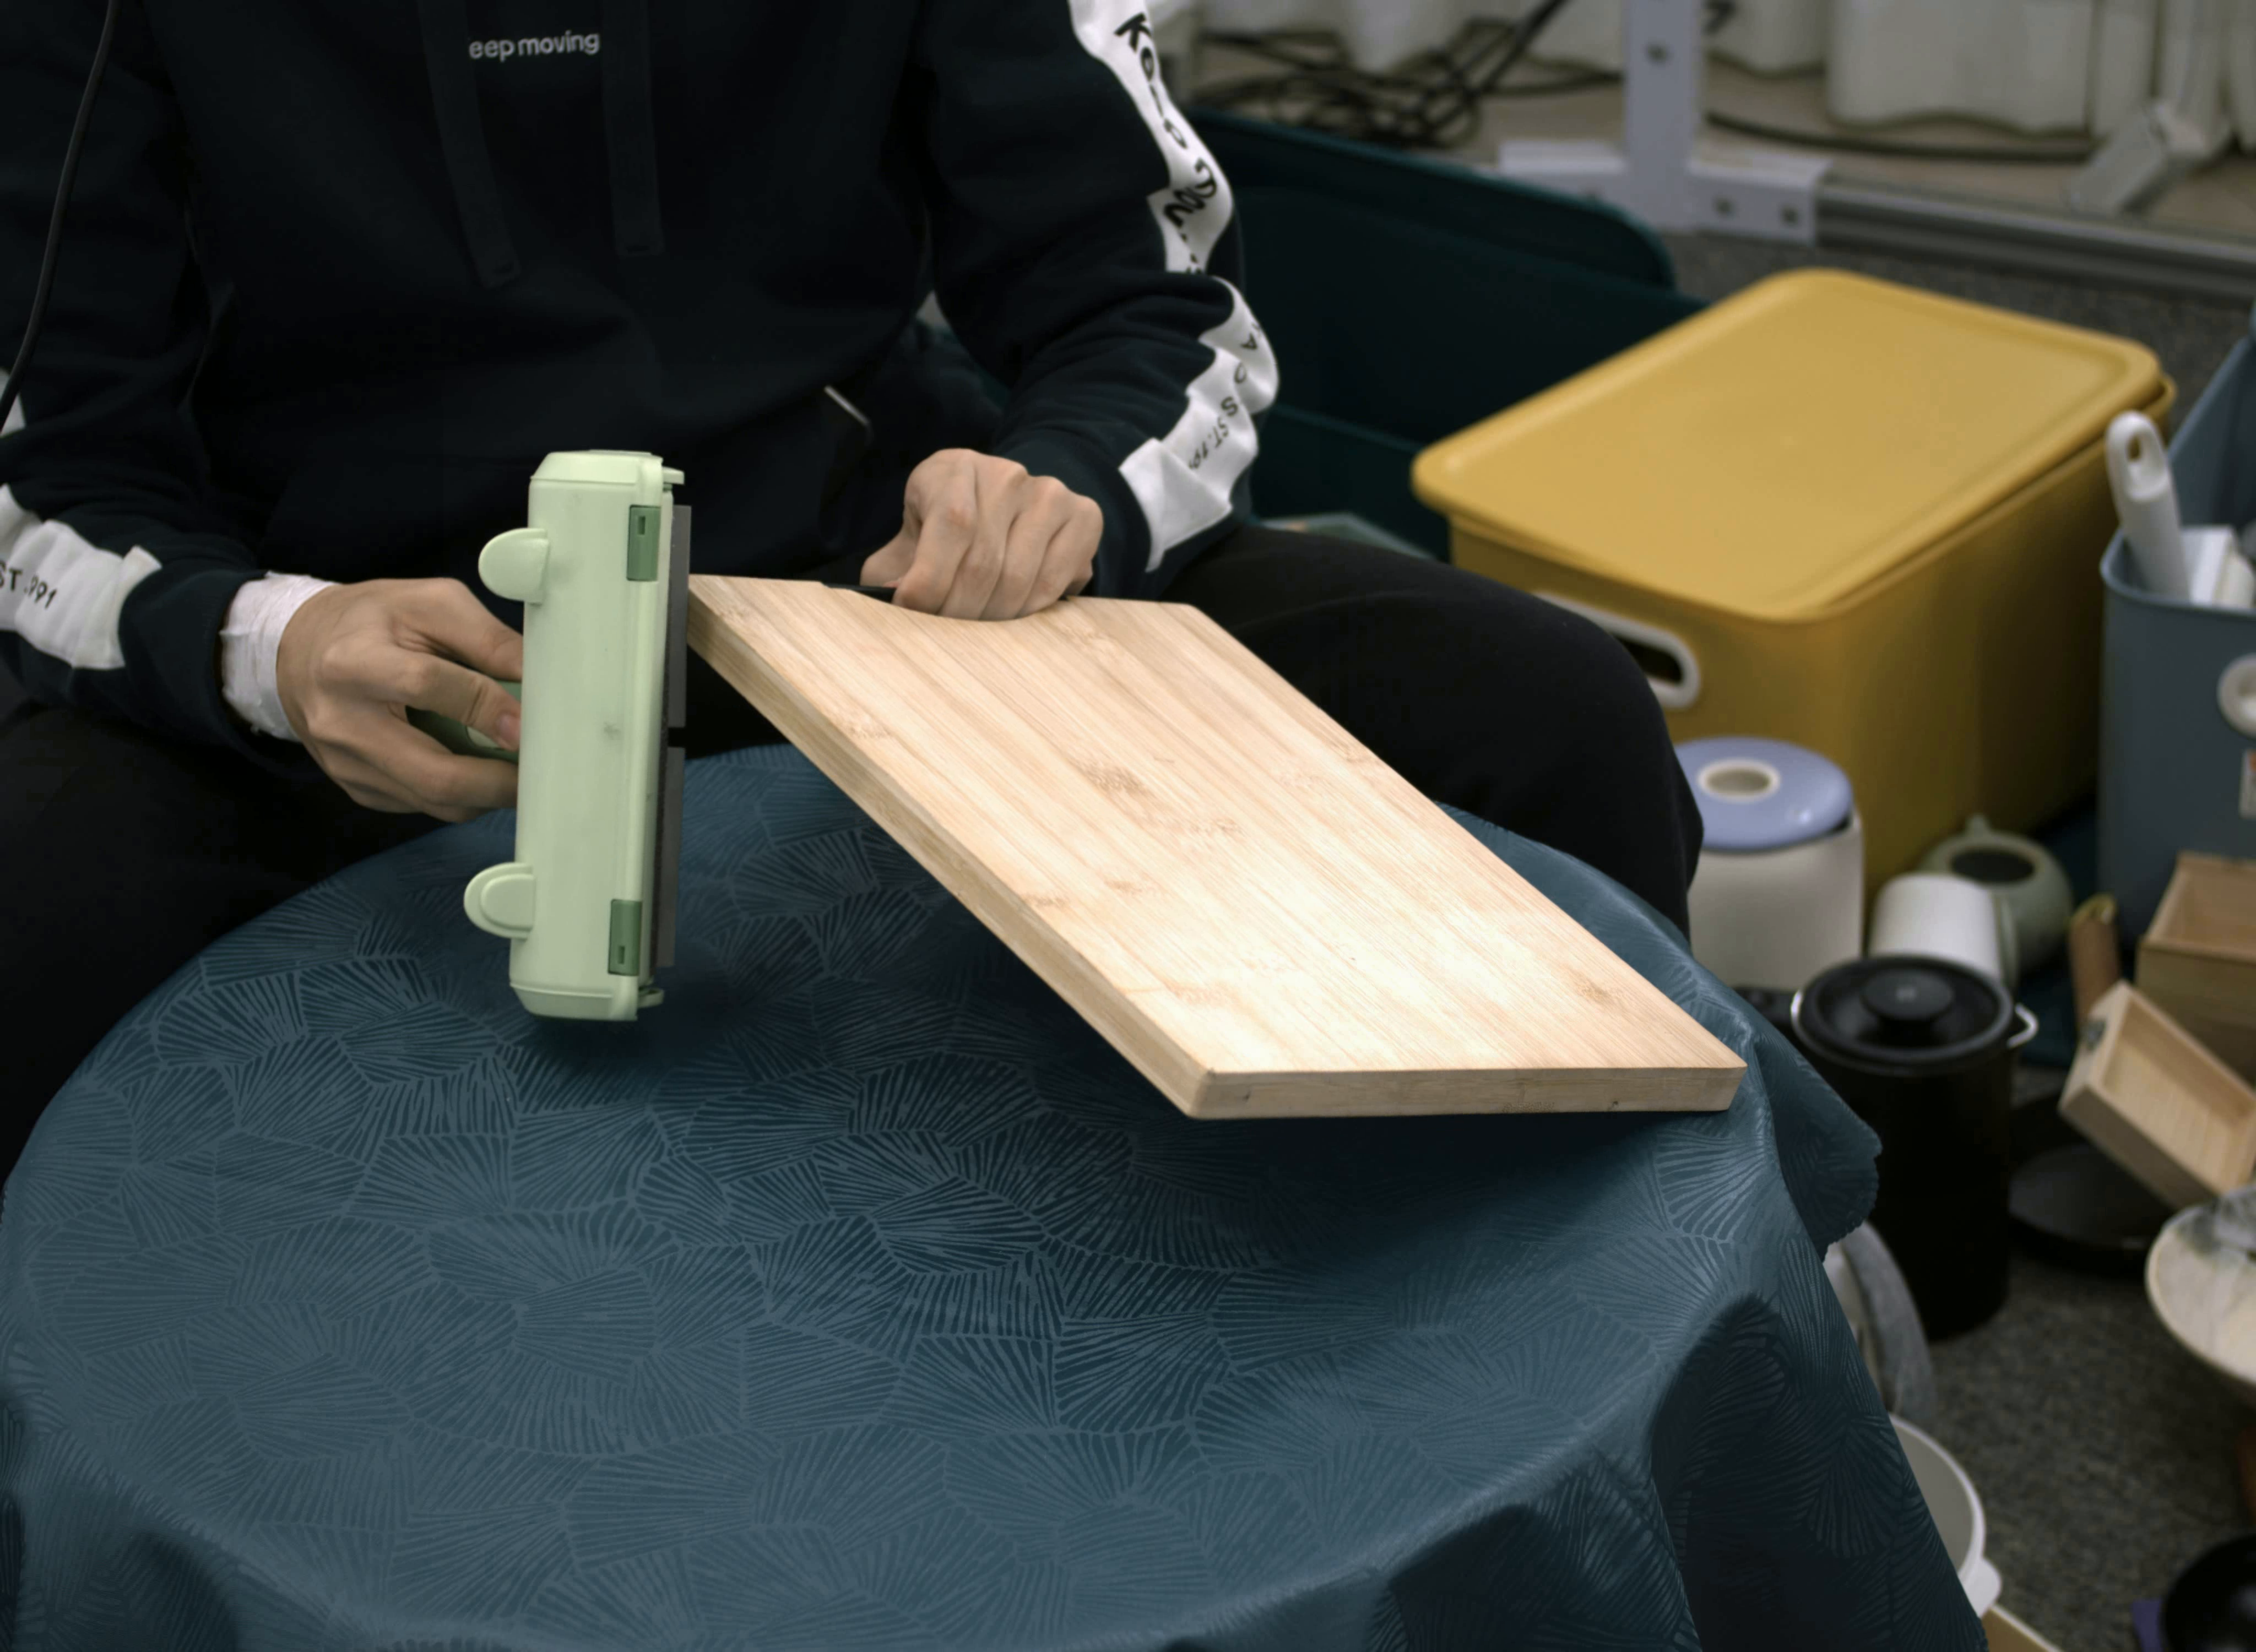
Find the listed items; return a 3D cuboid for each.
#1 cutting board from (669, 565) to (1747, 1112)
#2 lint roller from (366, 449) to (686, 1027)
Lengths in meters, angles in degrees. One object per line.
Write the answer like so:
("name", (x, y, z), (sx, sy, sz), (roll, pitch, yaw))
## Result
("cutting board", (0.020, 0.003, 1.933), (0.251, 0.023, 0.351), (2, 28, -40))
("lint roller", (-0.229, -0.035, 1.980), (0.182, 0.199, 0.082), (5, 2, 42))
